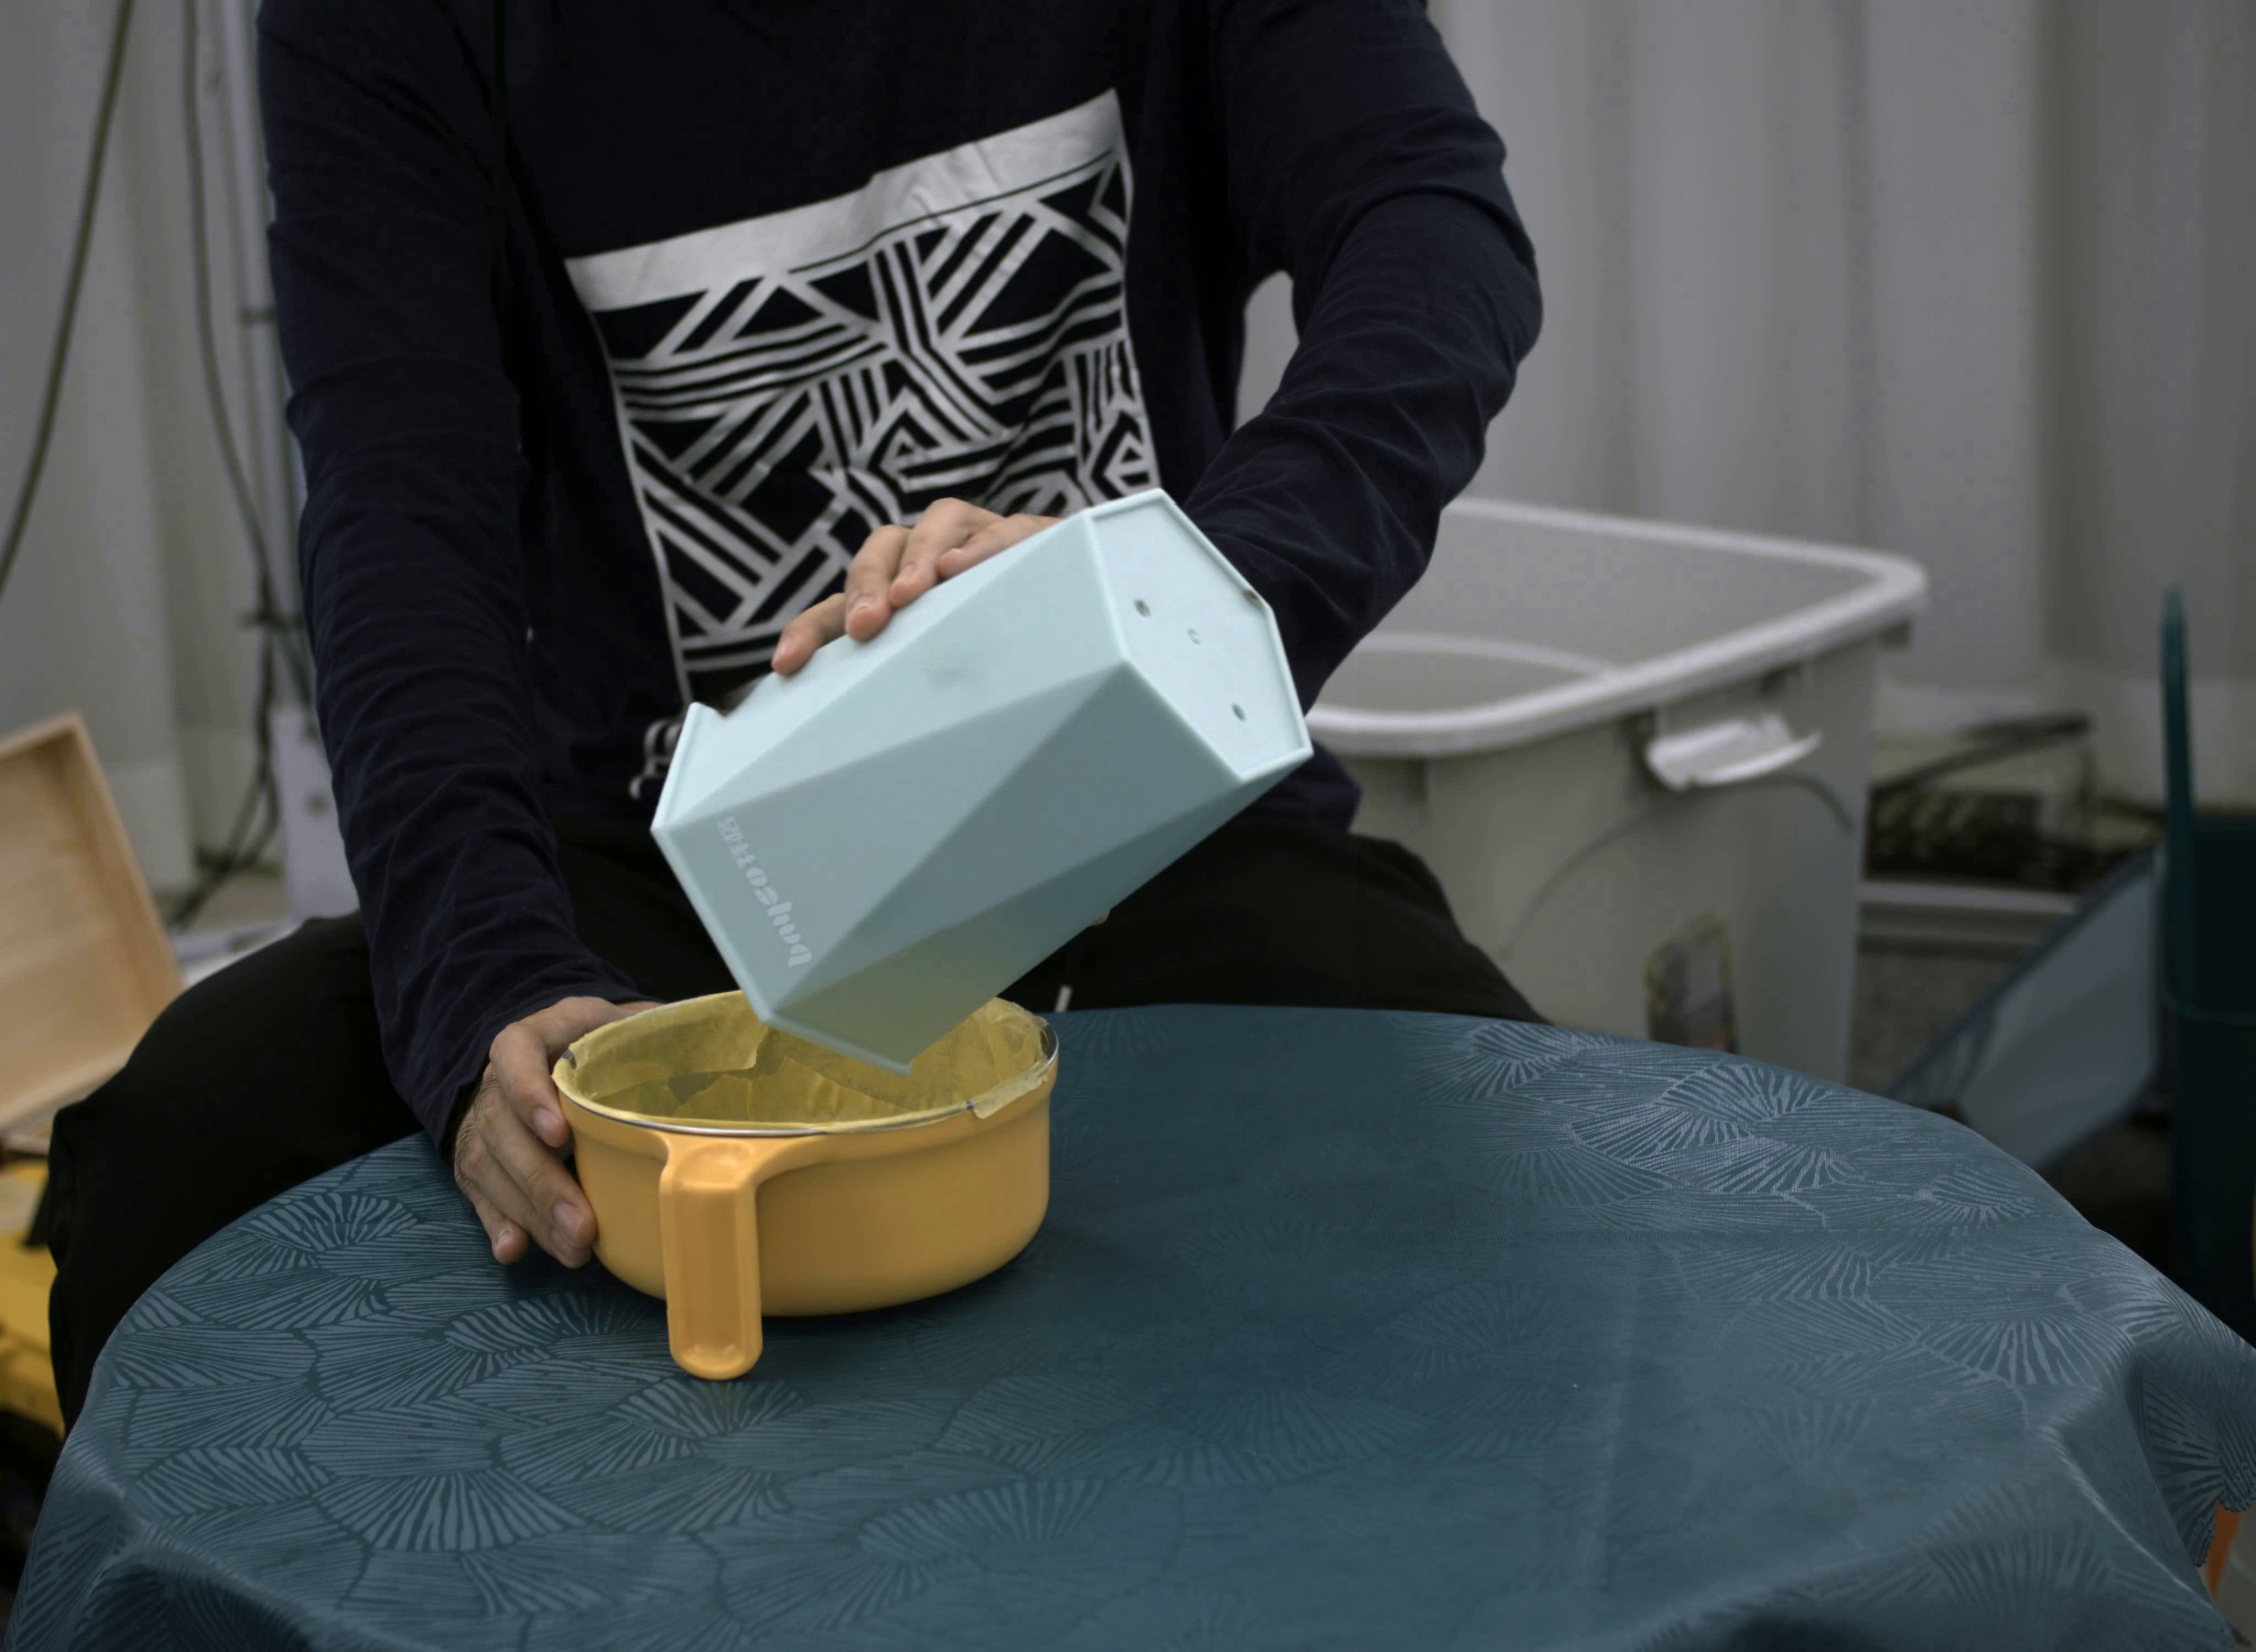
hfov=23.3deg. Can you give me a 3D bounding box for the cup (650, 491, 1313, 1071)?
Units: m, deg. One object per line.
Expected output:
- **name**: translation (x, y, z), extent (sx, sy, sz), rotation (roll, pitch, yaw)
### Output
- **cup**: translation (-0.040, -0.019, 1.615), extent (0.162, 0.131, 0.115), rotation (-31, -7, 27)

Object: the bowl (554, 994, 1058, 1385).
- **bowl**: translation (-0.099, 0.105, 1.645), extent (0.153, 0.074, 0.180), rotation (0, 13, 11)
